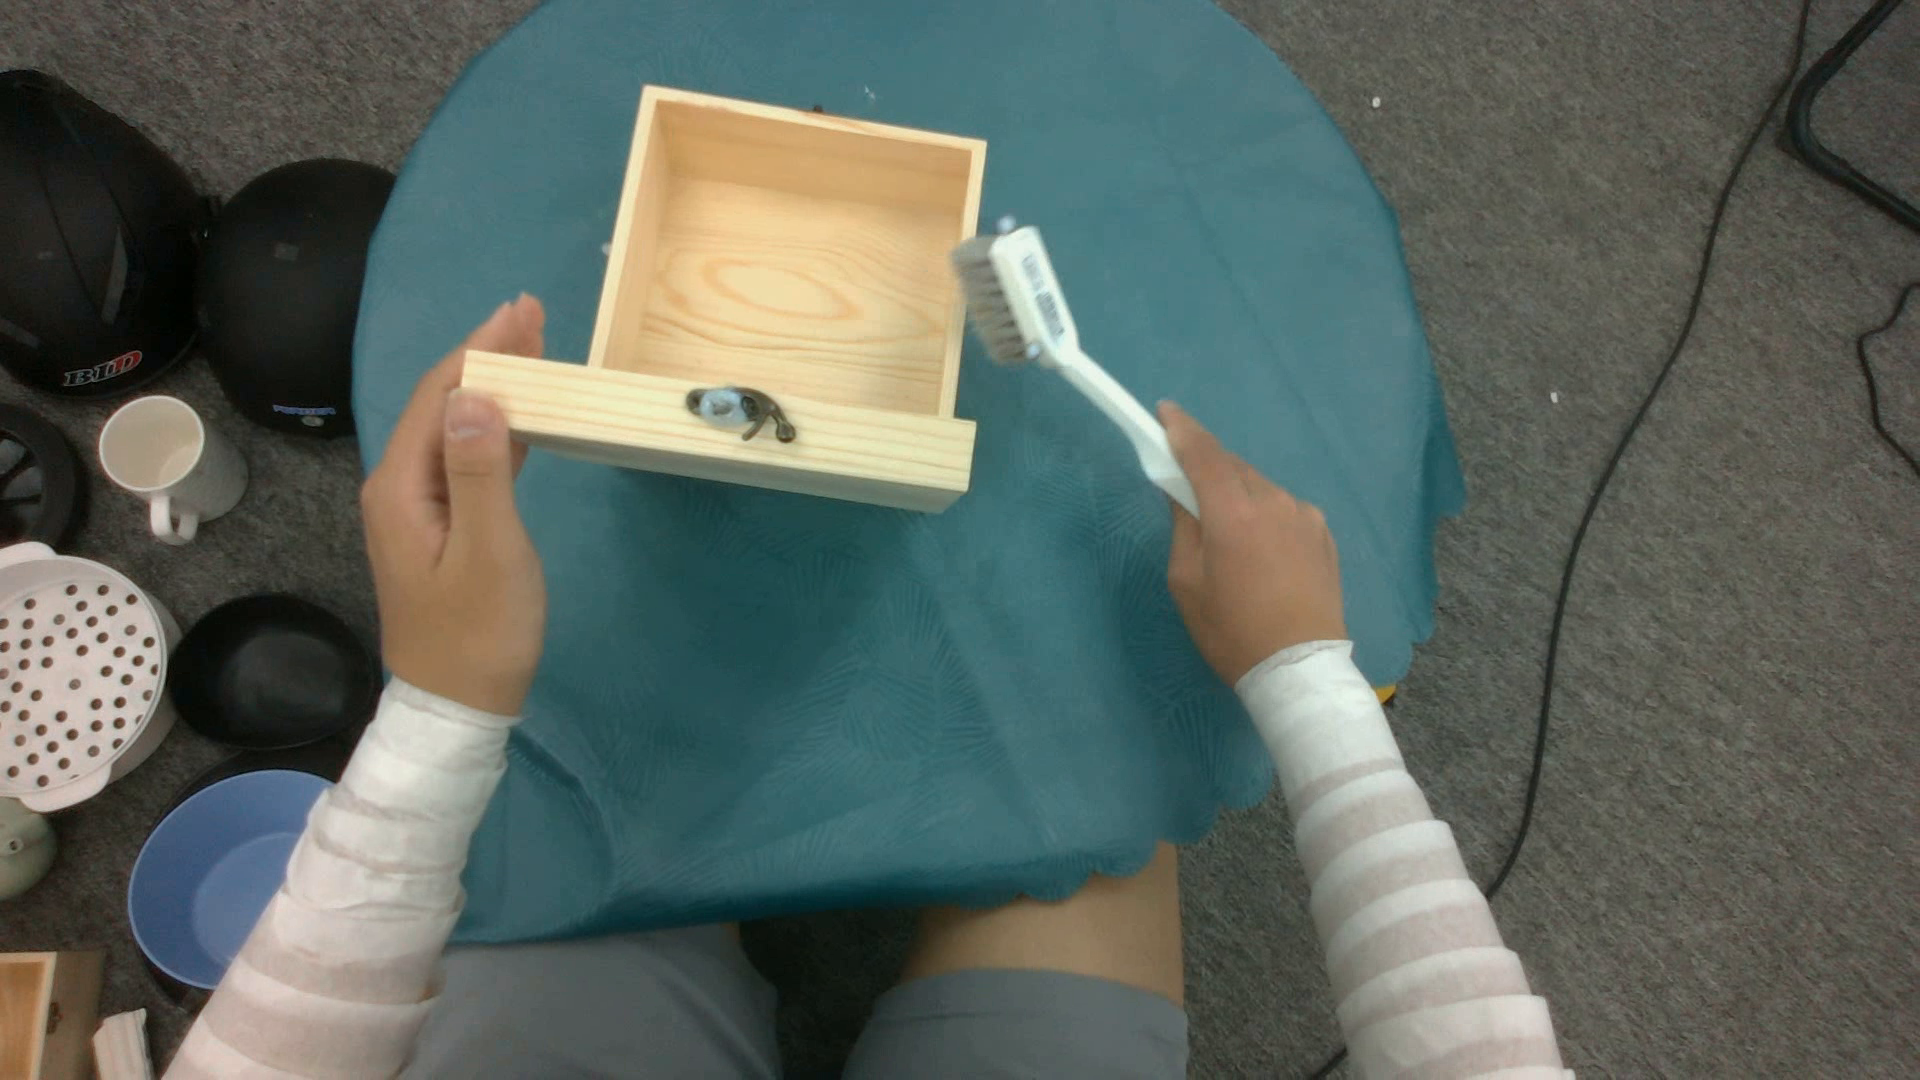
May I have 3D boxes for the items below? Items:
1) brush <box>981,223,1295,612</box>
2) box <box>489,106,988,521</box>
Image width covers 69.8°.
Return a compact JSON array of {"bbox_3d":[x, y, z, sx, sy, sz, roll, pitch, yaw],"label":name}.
[{"bbox_3d":[0.089,-0.057,0.705,0.243,0.050,0.034,55,37,-8],"label":"brush"},{"bbox_3d":[-0.082,-0.116,0.655,0.182,0.252,0.266,7,73,-5],"label":"box"}]
